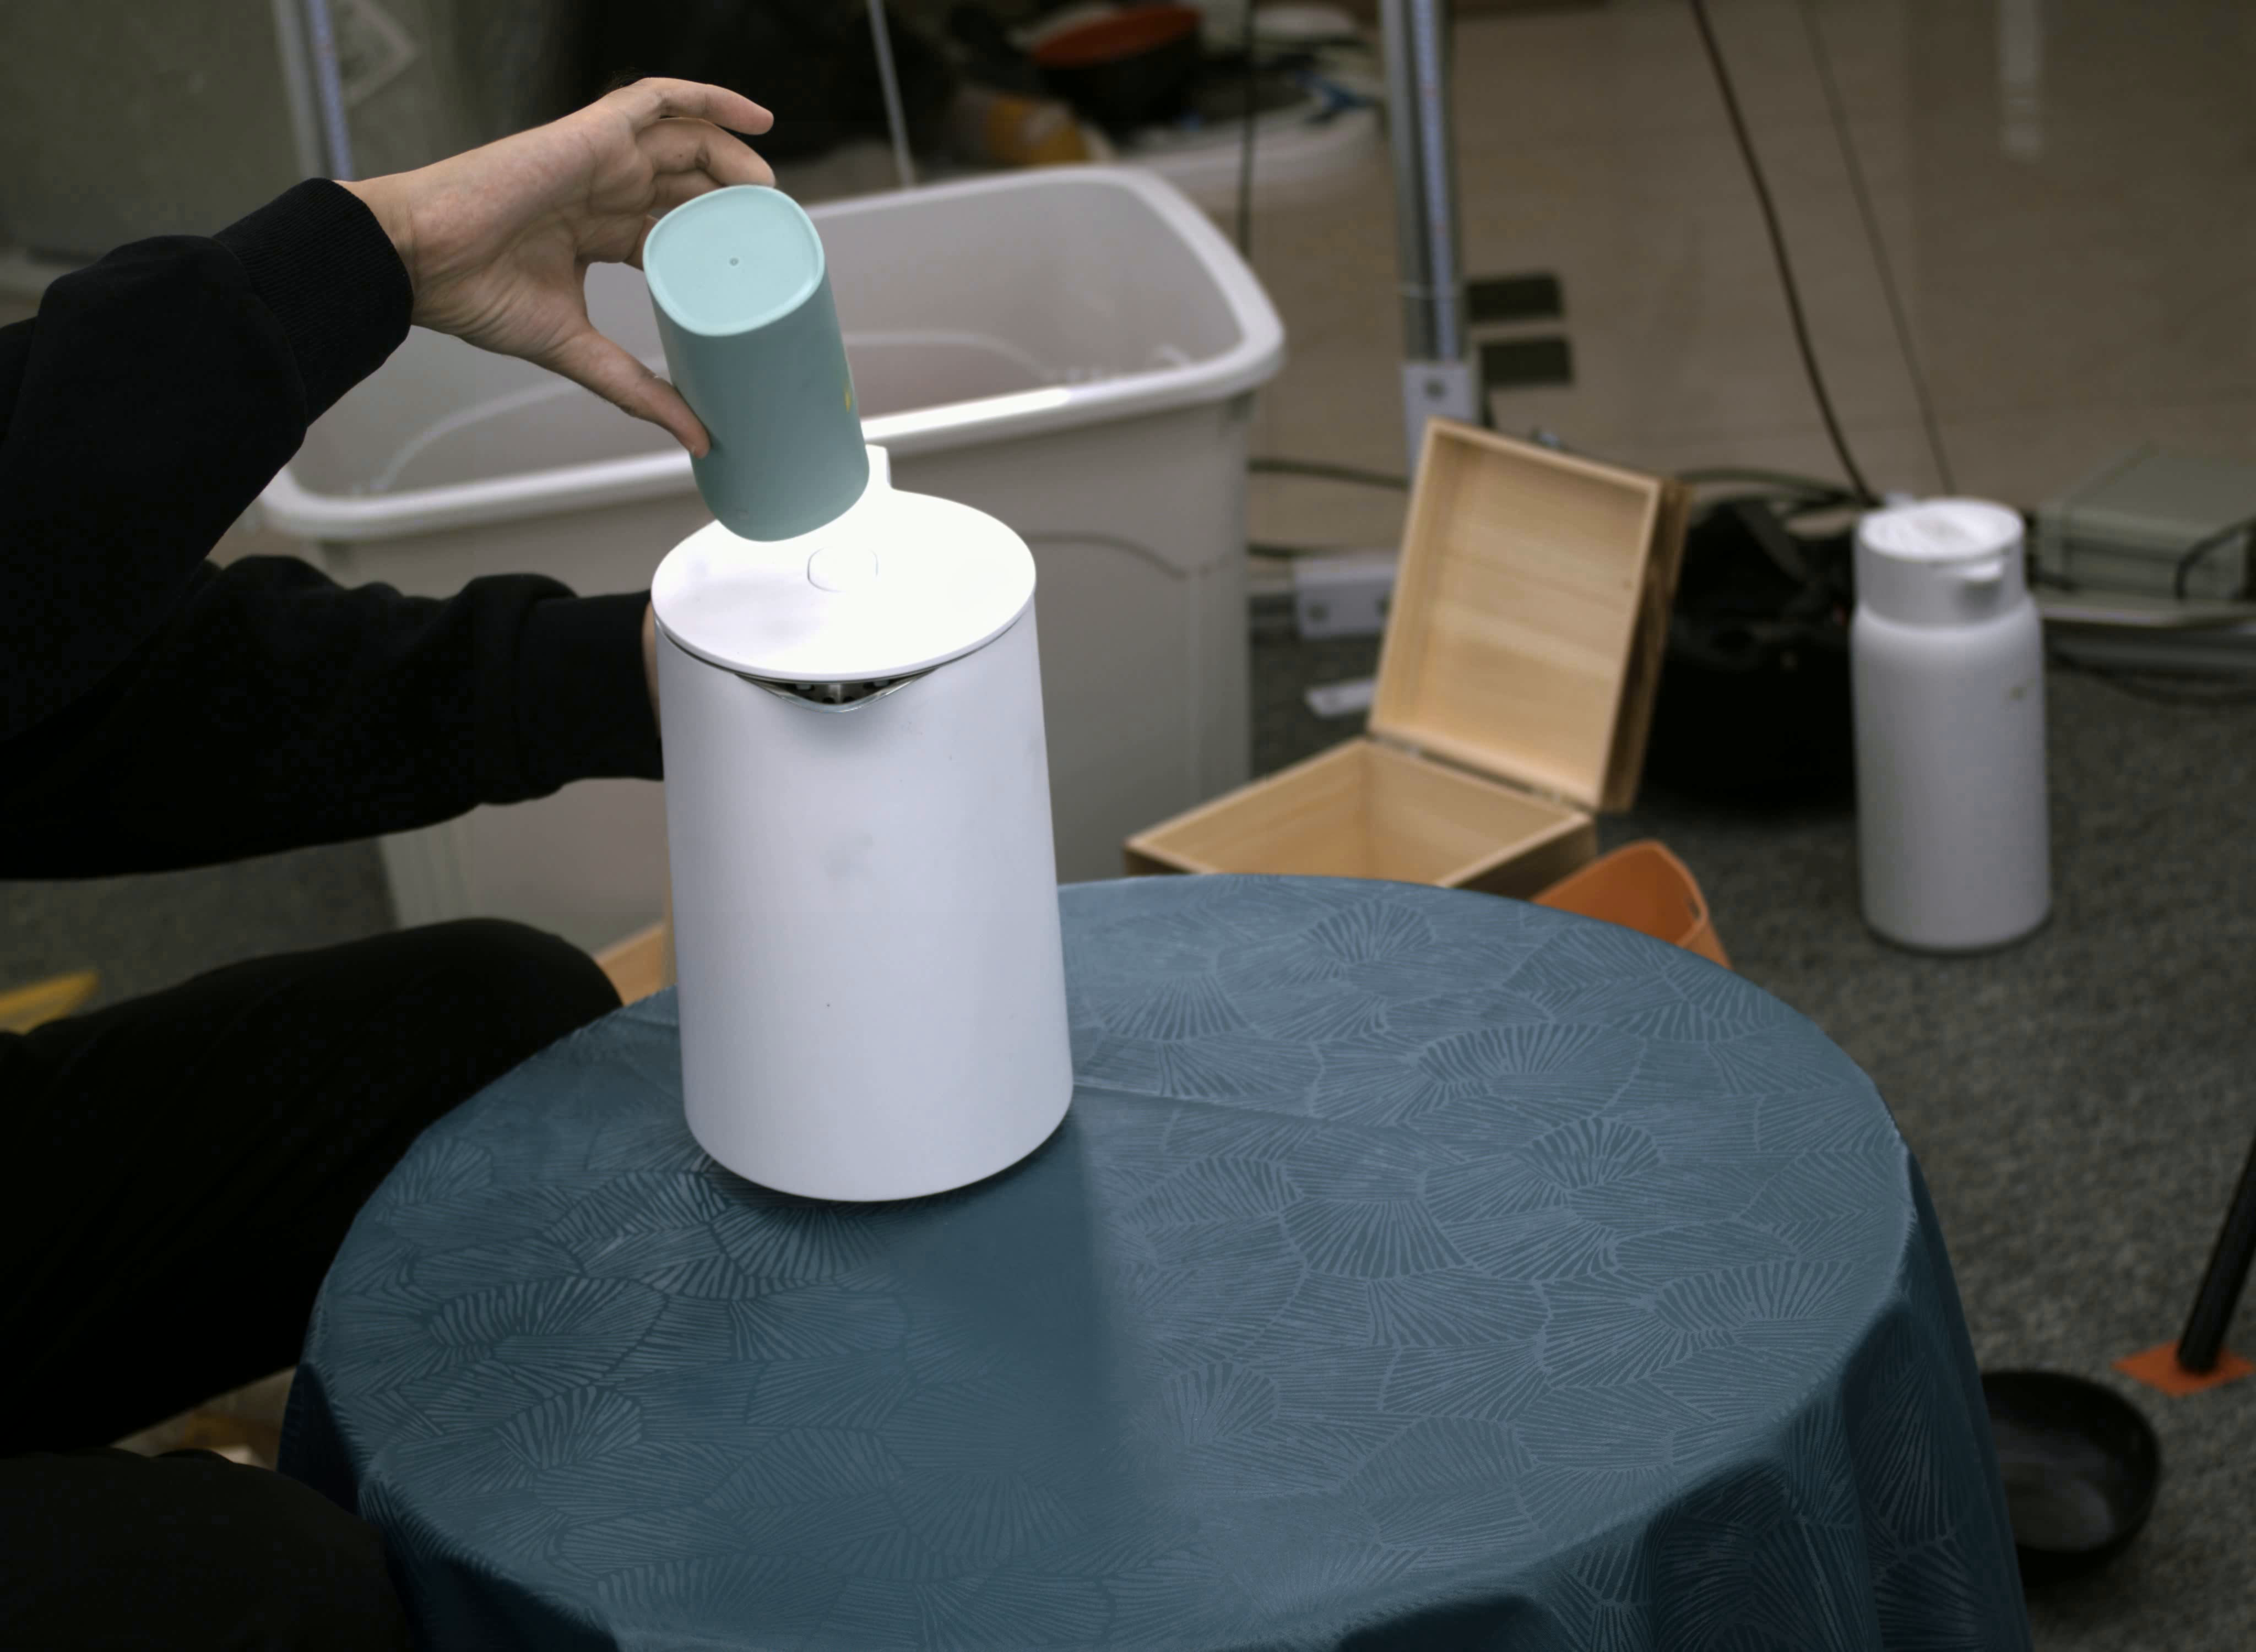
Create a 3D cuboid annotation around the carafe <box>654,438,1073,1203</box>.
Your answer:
[{"bbox_3d":[-0.100,-0.008,2.168,0.152,0.244,0.209,-1,33,1],"label":"carafe"}]

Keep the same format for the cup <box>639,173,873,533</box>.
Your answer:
[{"bbox_3d":[-0.131,-0.165,1.986,0.066,0.134,0.066,-2,61,4],"label":"cup"}]
